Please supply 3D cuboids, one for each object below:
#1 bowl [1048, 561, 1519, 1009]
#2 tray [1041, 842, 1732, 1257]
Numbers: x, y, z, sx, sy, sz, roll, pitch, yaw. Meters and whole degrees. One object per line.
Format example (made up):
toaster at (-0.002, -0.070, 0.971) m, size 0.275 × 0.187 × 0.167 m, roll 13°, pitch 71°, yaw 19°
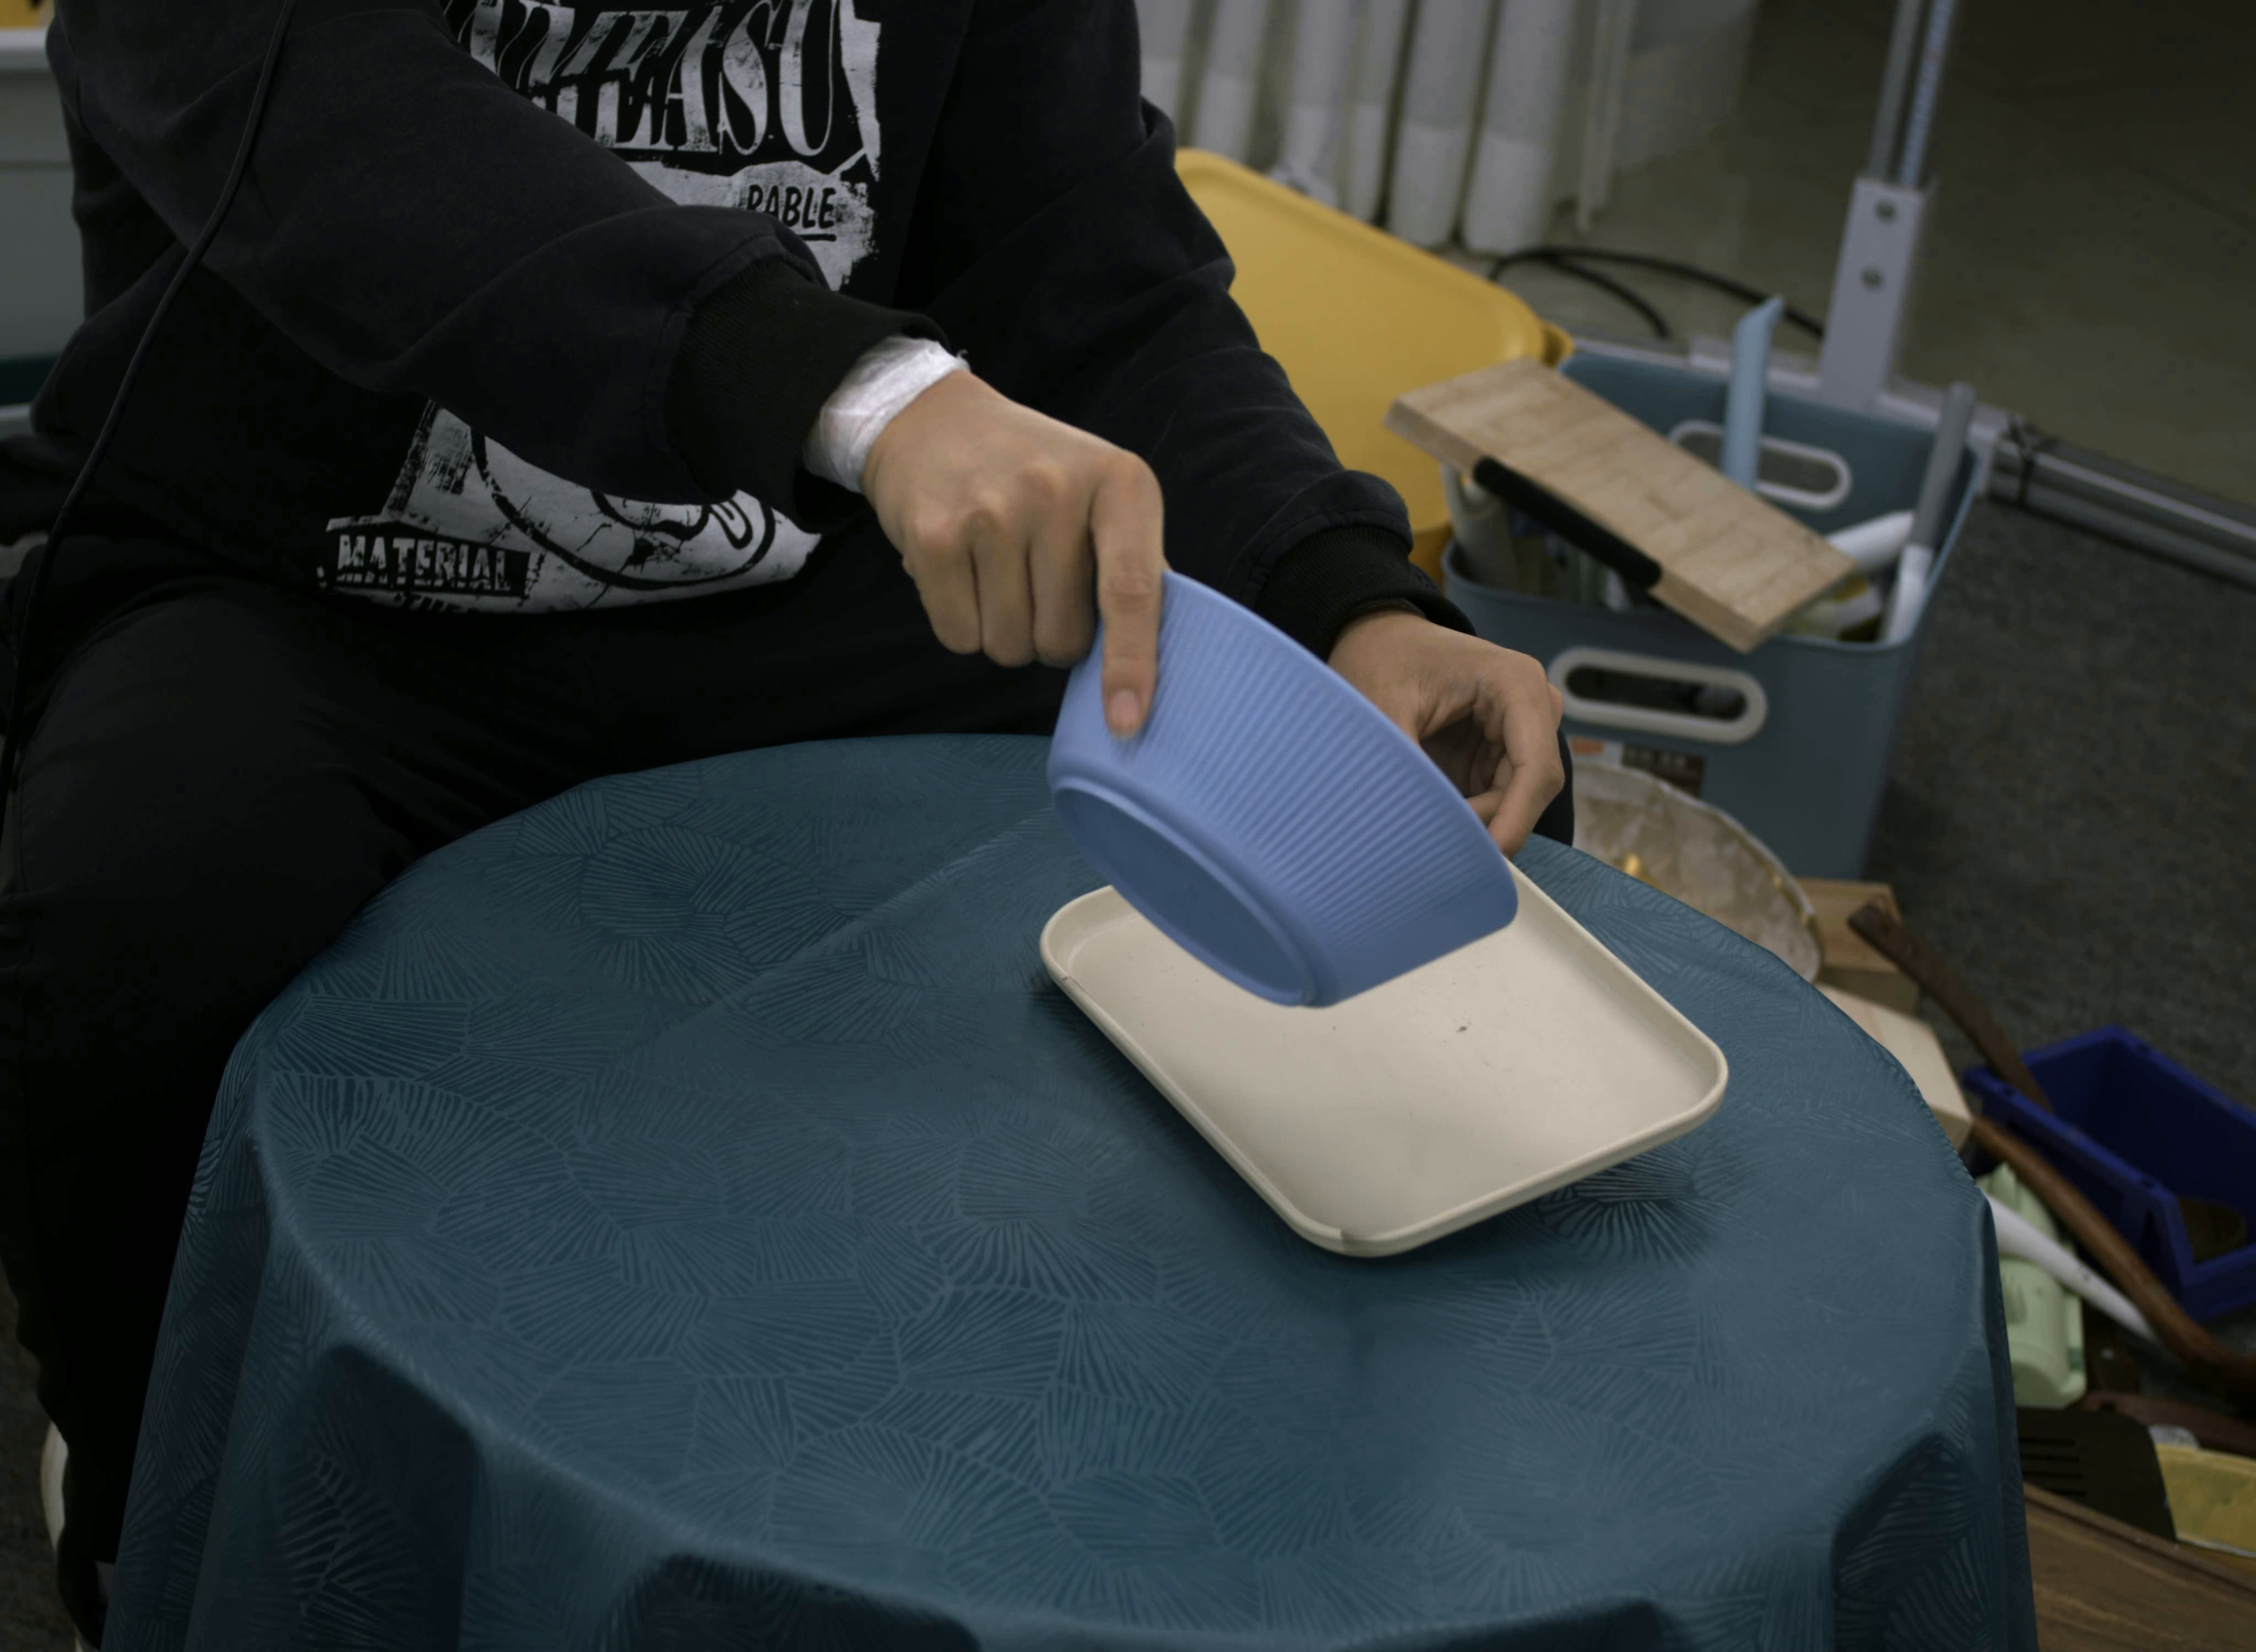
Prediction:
bowl at (0.038, -0.003, 1.728) m, size 0.177 × 0.174 × 0.070 m, roll 29°, pitch 70°, yaw 37°
tray at (0.088, 0.069, 1.874) m, size 0.170 × 0.017 × 0.242 m, roll -20°, pitch 35°, yaw -20°
